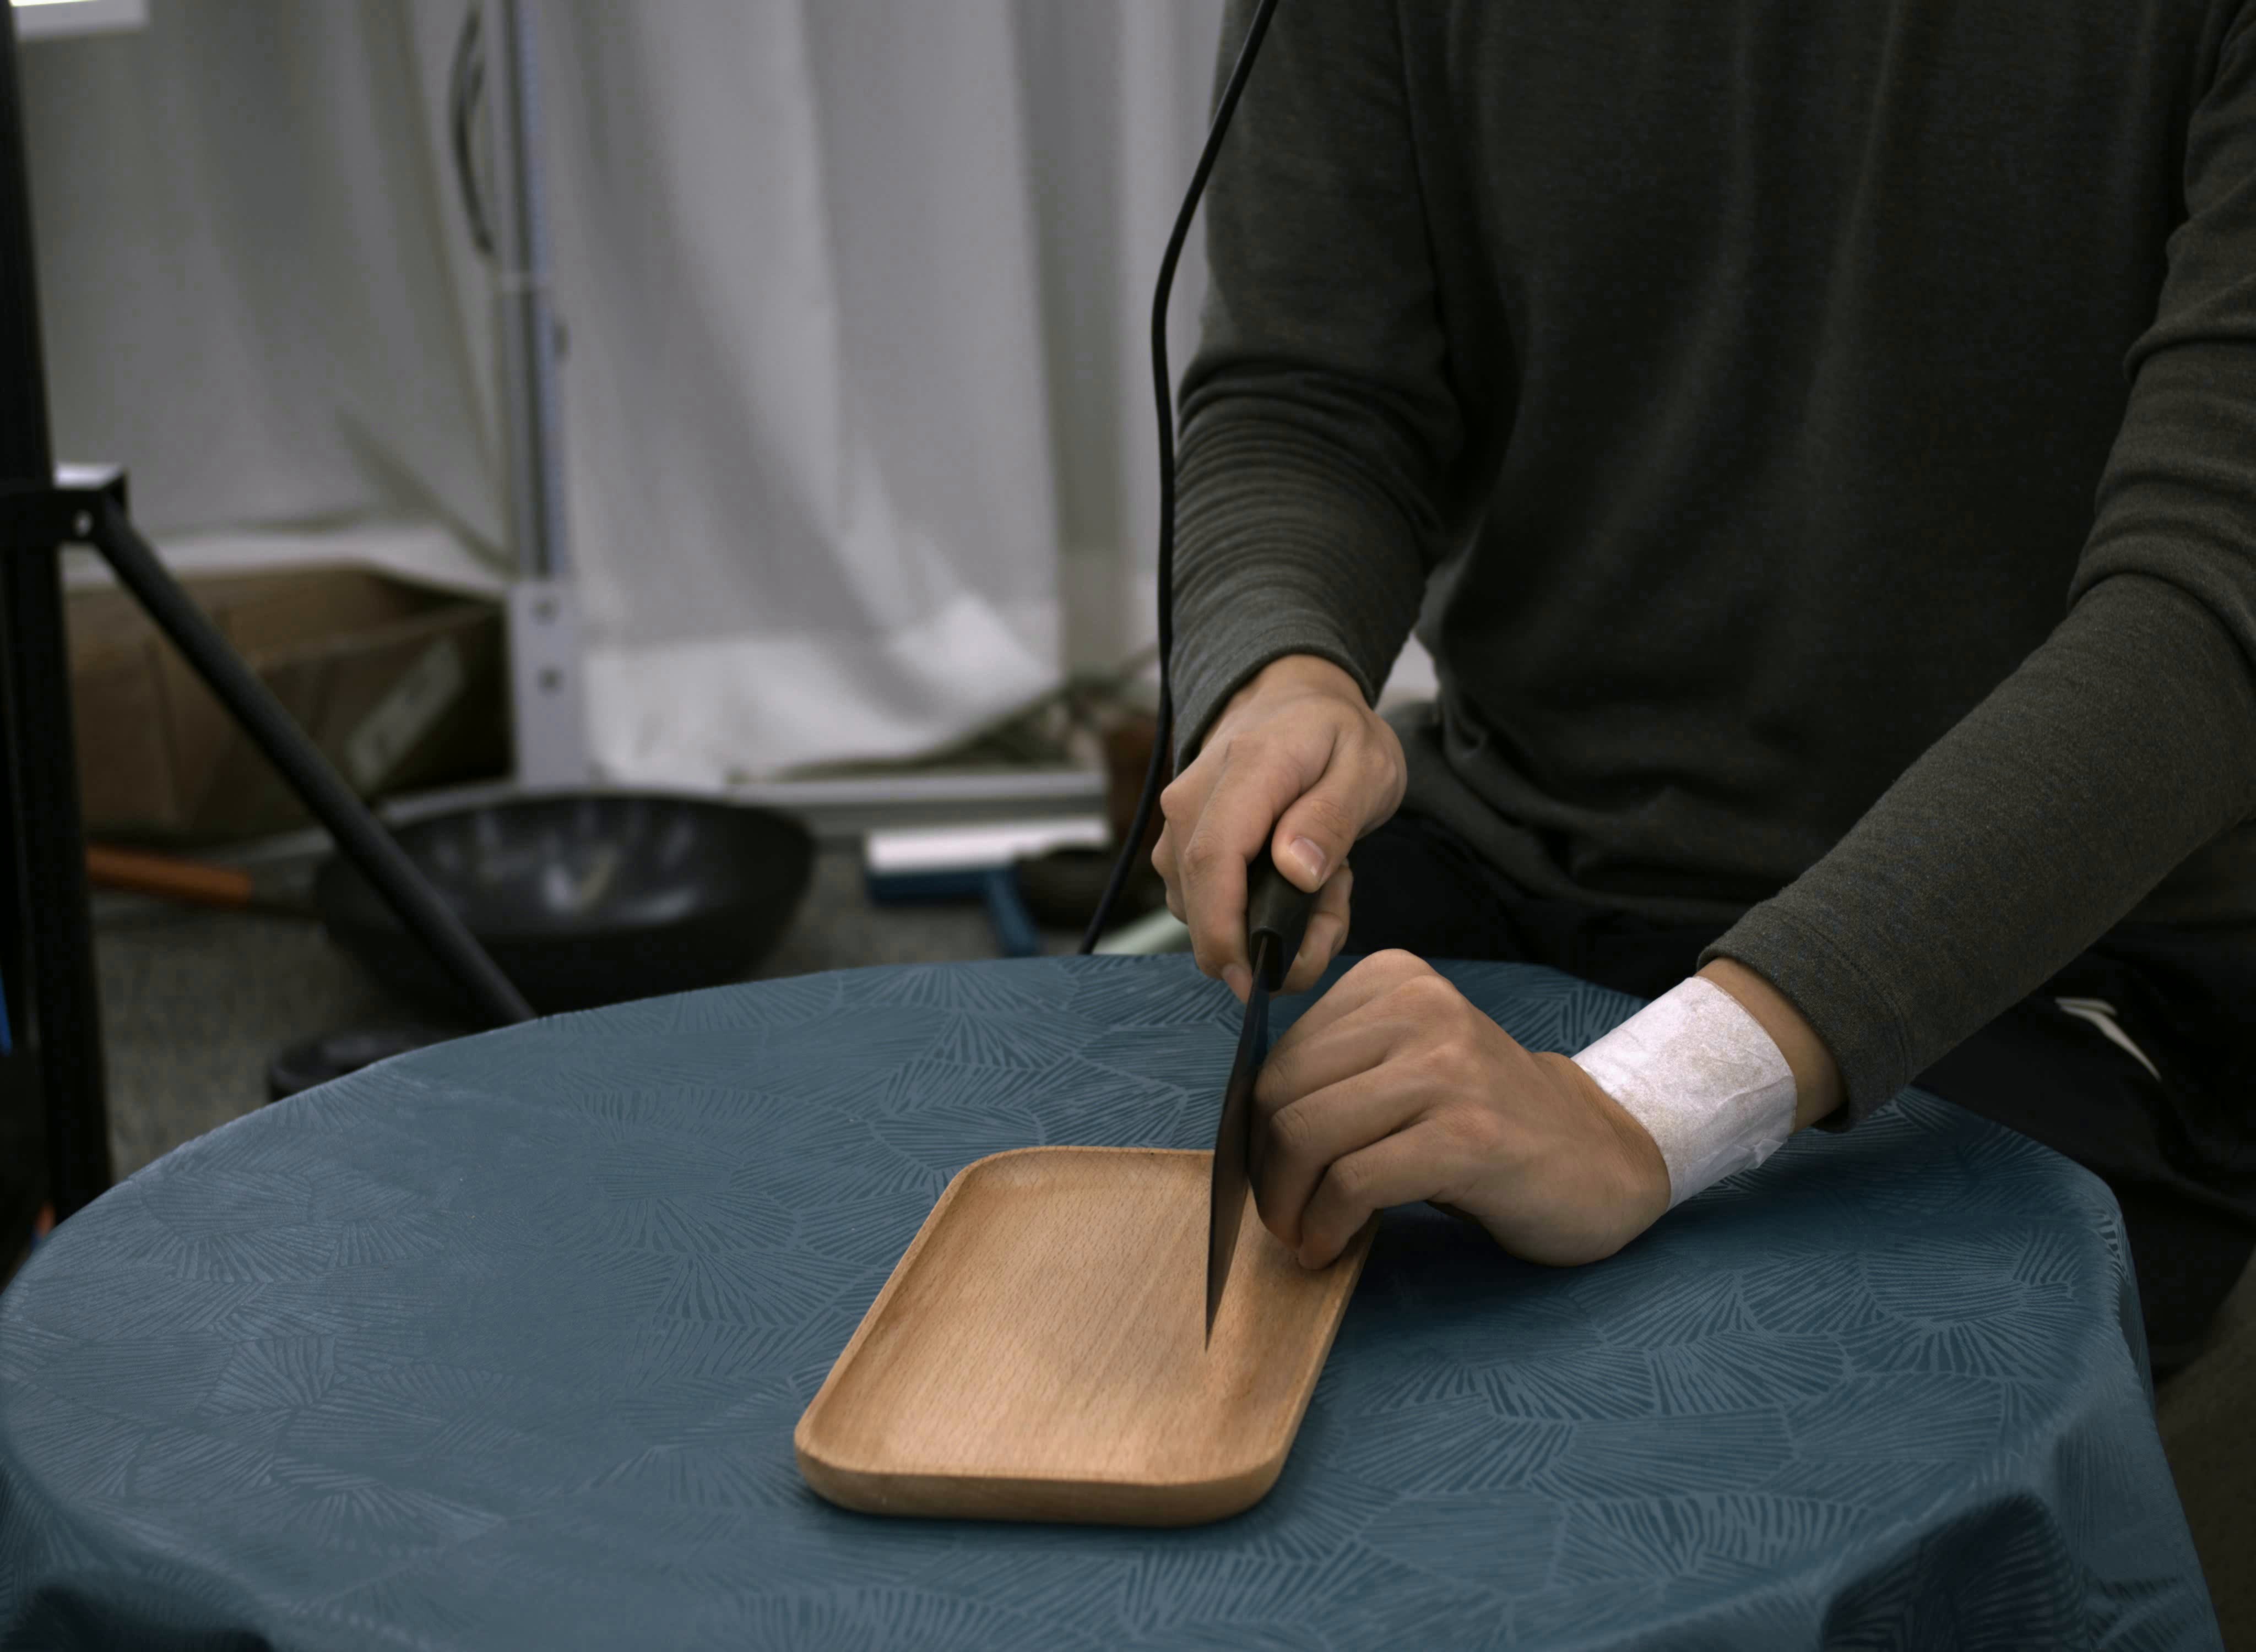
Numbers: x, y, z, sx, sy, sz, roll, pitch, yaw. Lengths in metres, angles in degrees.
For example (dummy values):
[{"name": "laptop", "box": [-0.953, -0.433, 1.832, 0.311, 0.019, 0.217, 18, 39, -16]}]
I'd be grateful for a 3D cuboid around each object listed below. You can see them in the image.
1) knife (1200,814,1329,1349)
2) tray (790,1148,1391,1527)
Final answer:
[{"name": "knife", "box": [0.037, 0.063, 1.501, 0.021, 0.081, 0.302, 5, 21, 5]}, {"name": "tray", "box": [-0.005, 0.135, 1.438, 0.131, 0.023, 0.249, 3, 15, 11]}]
